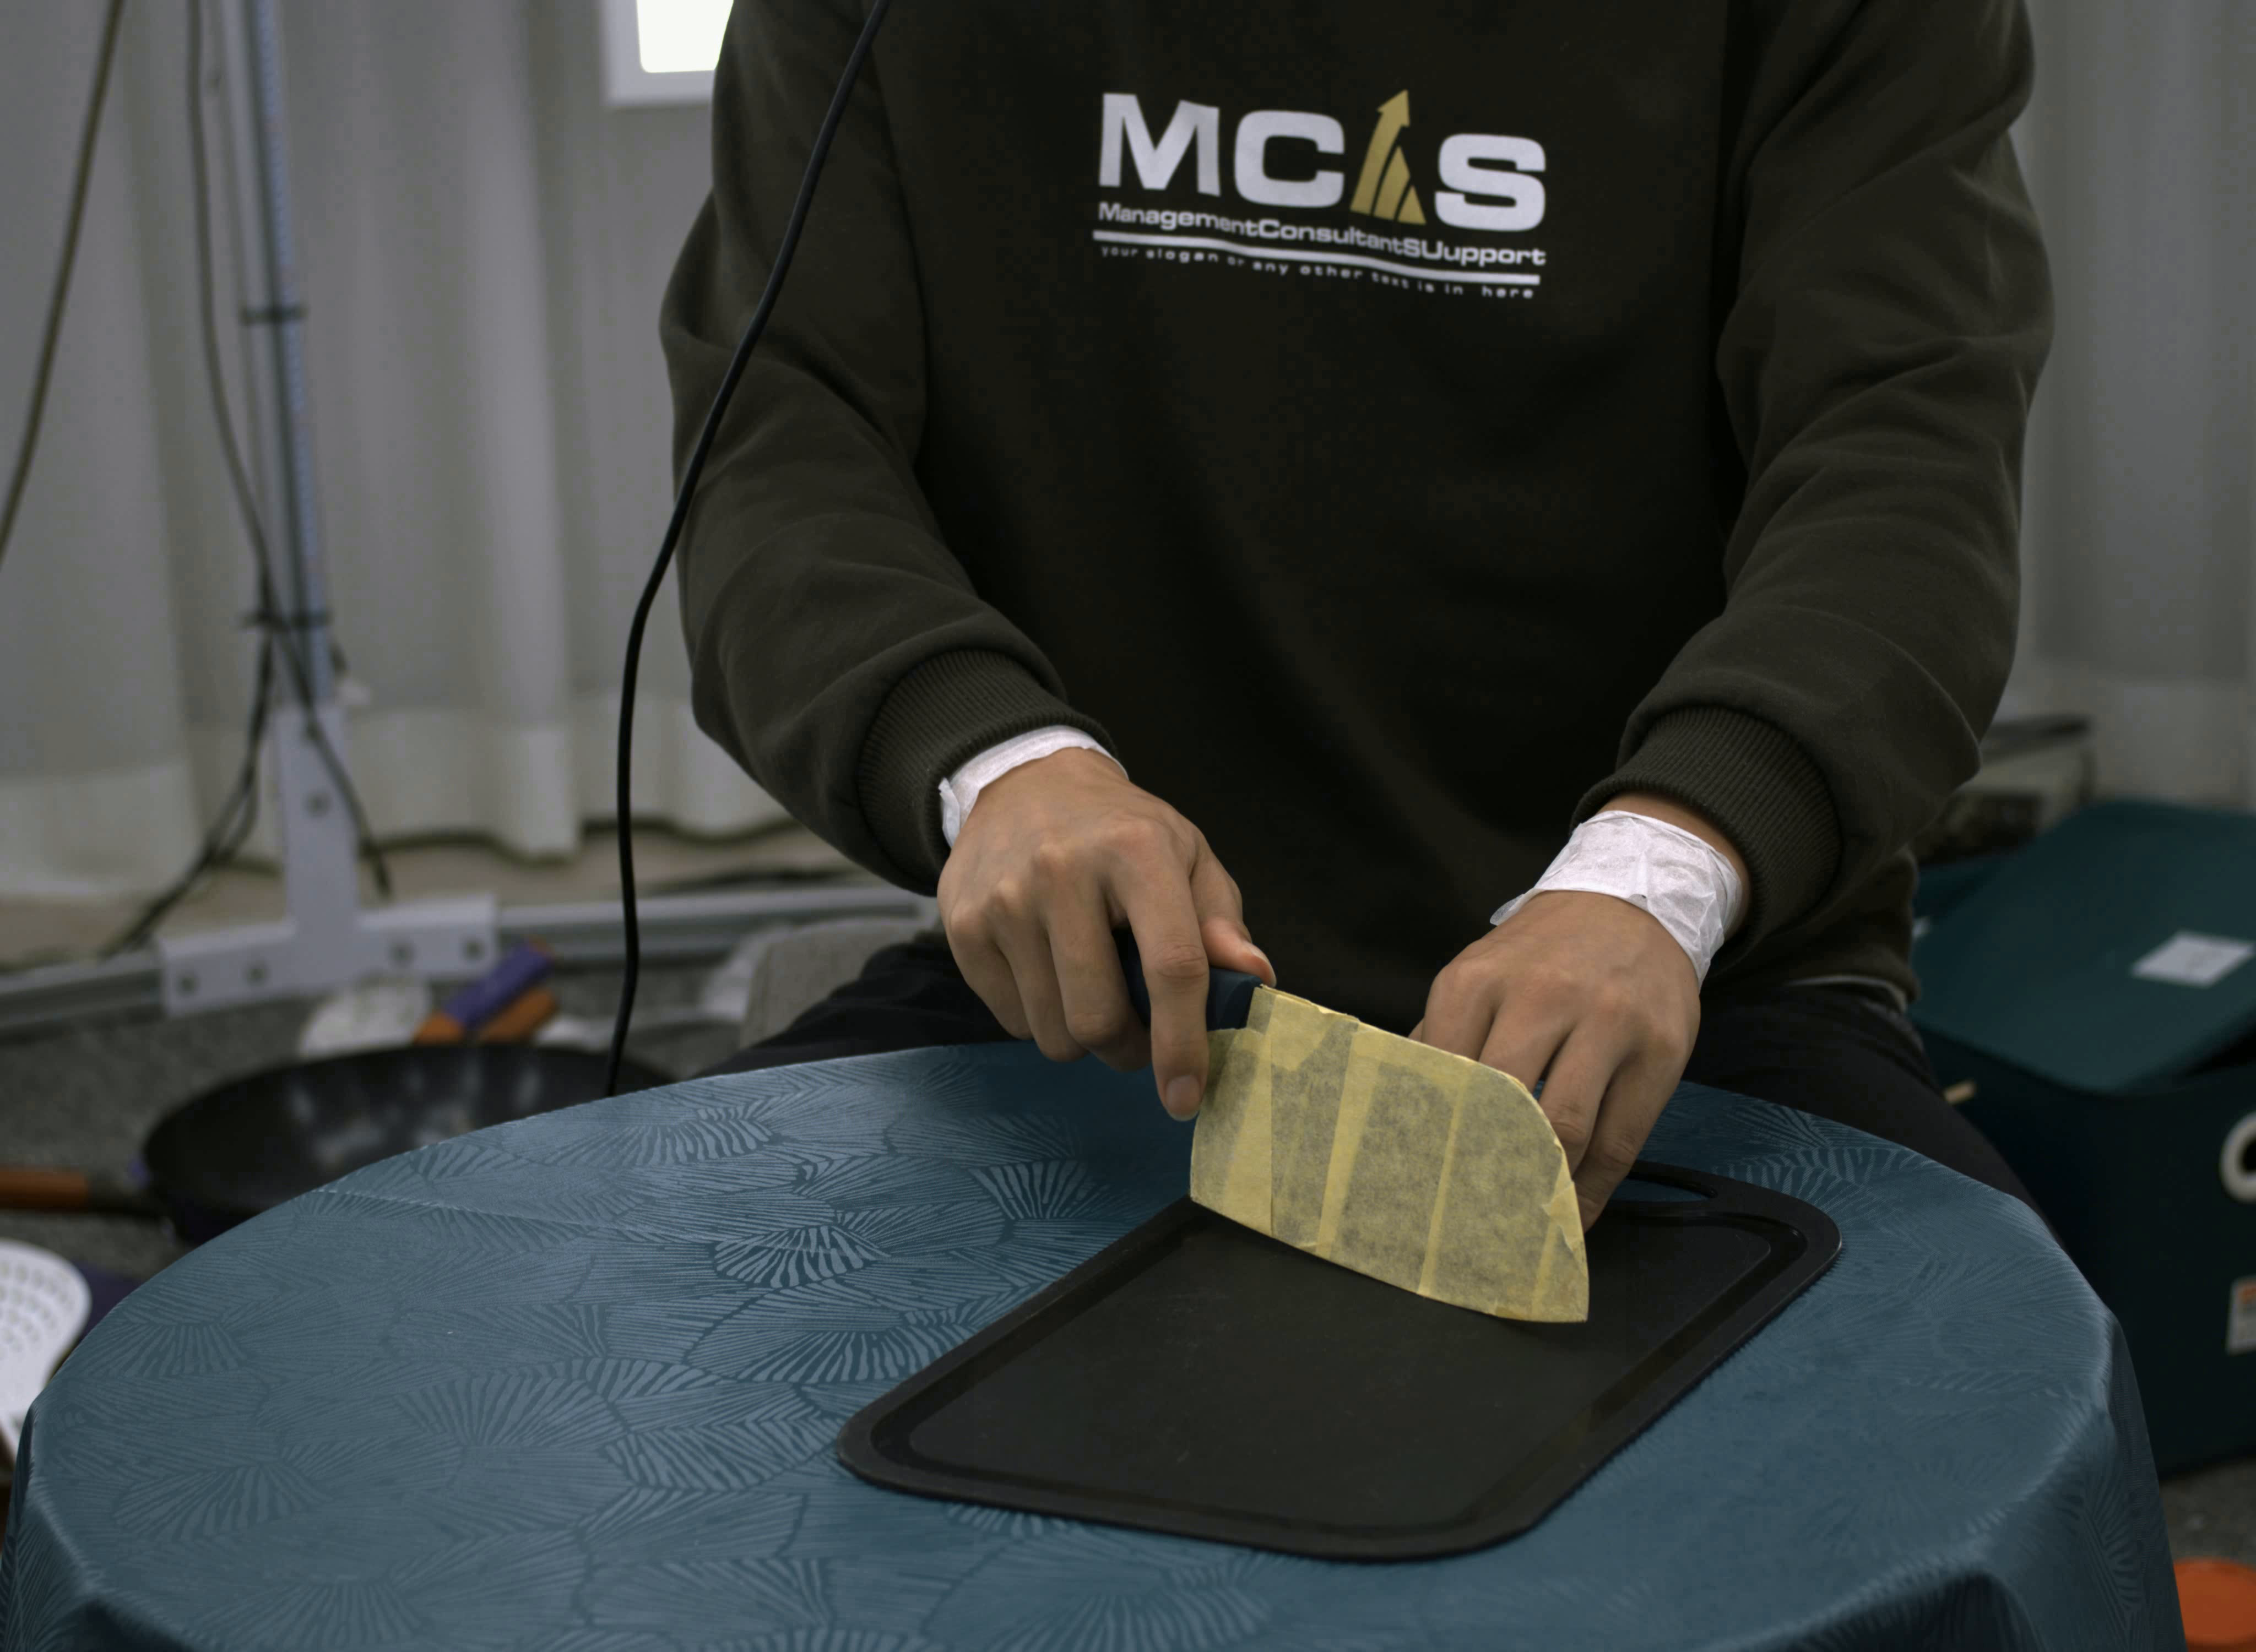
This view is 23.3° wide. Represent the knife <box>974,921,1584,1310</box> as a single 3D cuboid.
[{"bbox_3d":[0.042,0.084,1.663,0.027,0.081,0.292,10,9,-40],"label":"knife"}]

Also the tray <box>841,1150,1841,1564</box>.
[{"bbox_3d":[0.070,0.143,1.582,0.211,0.010,0.326,5,17,28],"label":"tray"}]
